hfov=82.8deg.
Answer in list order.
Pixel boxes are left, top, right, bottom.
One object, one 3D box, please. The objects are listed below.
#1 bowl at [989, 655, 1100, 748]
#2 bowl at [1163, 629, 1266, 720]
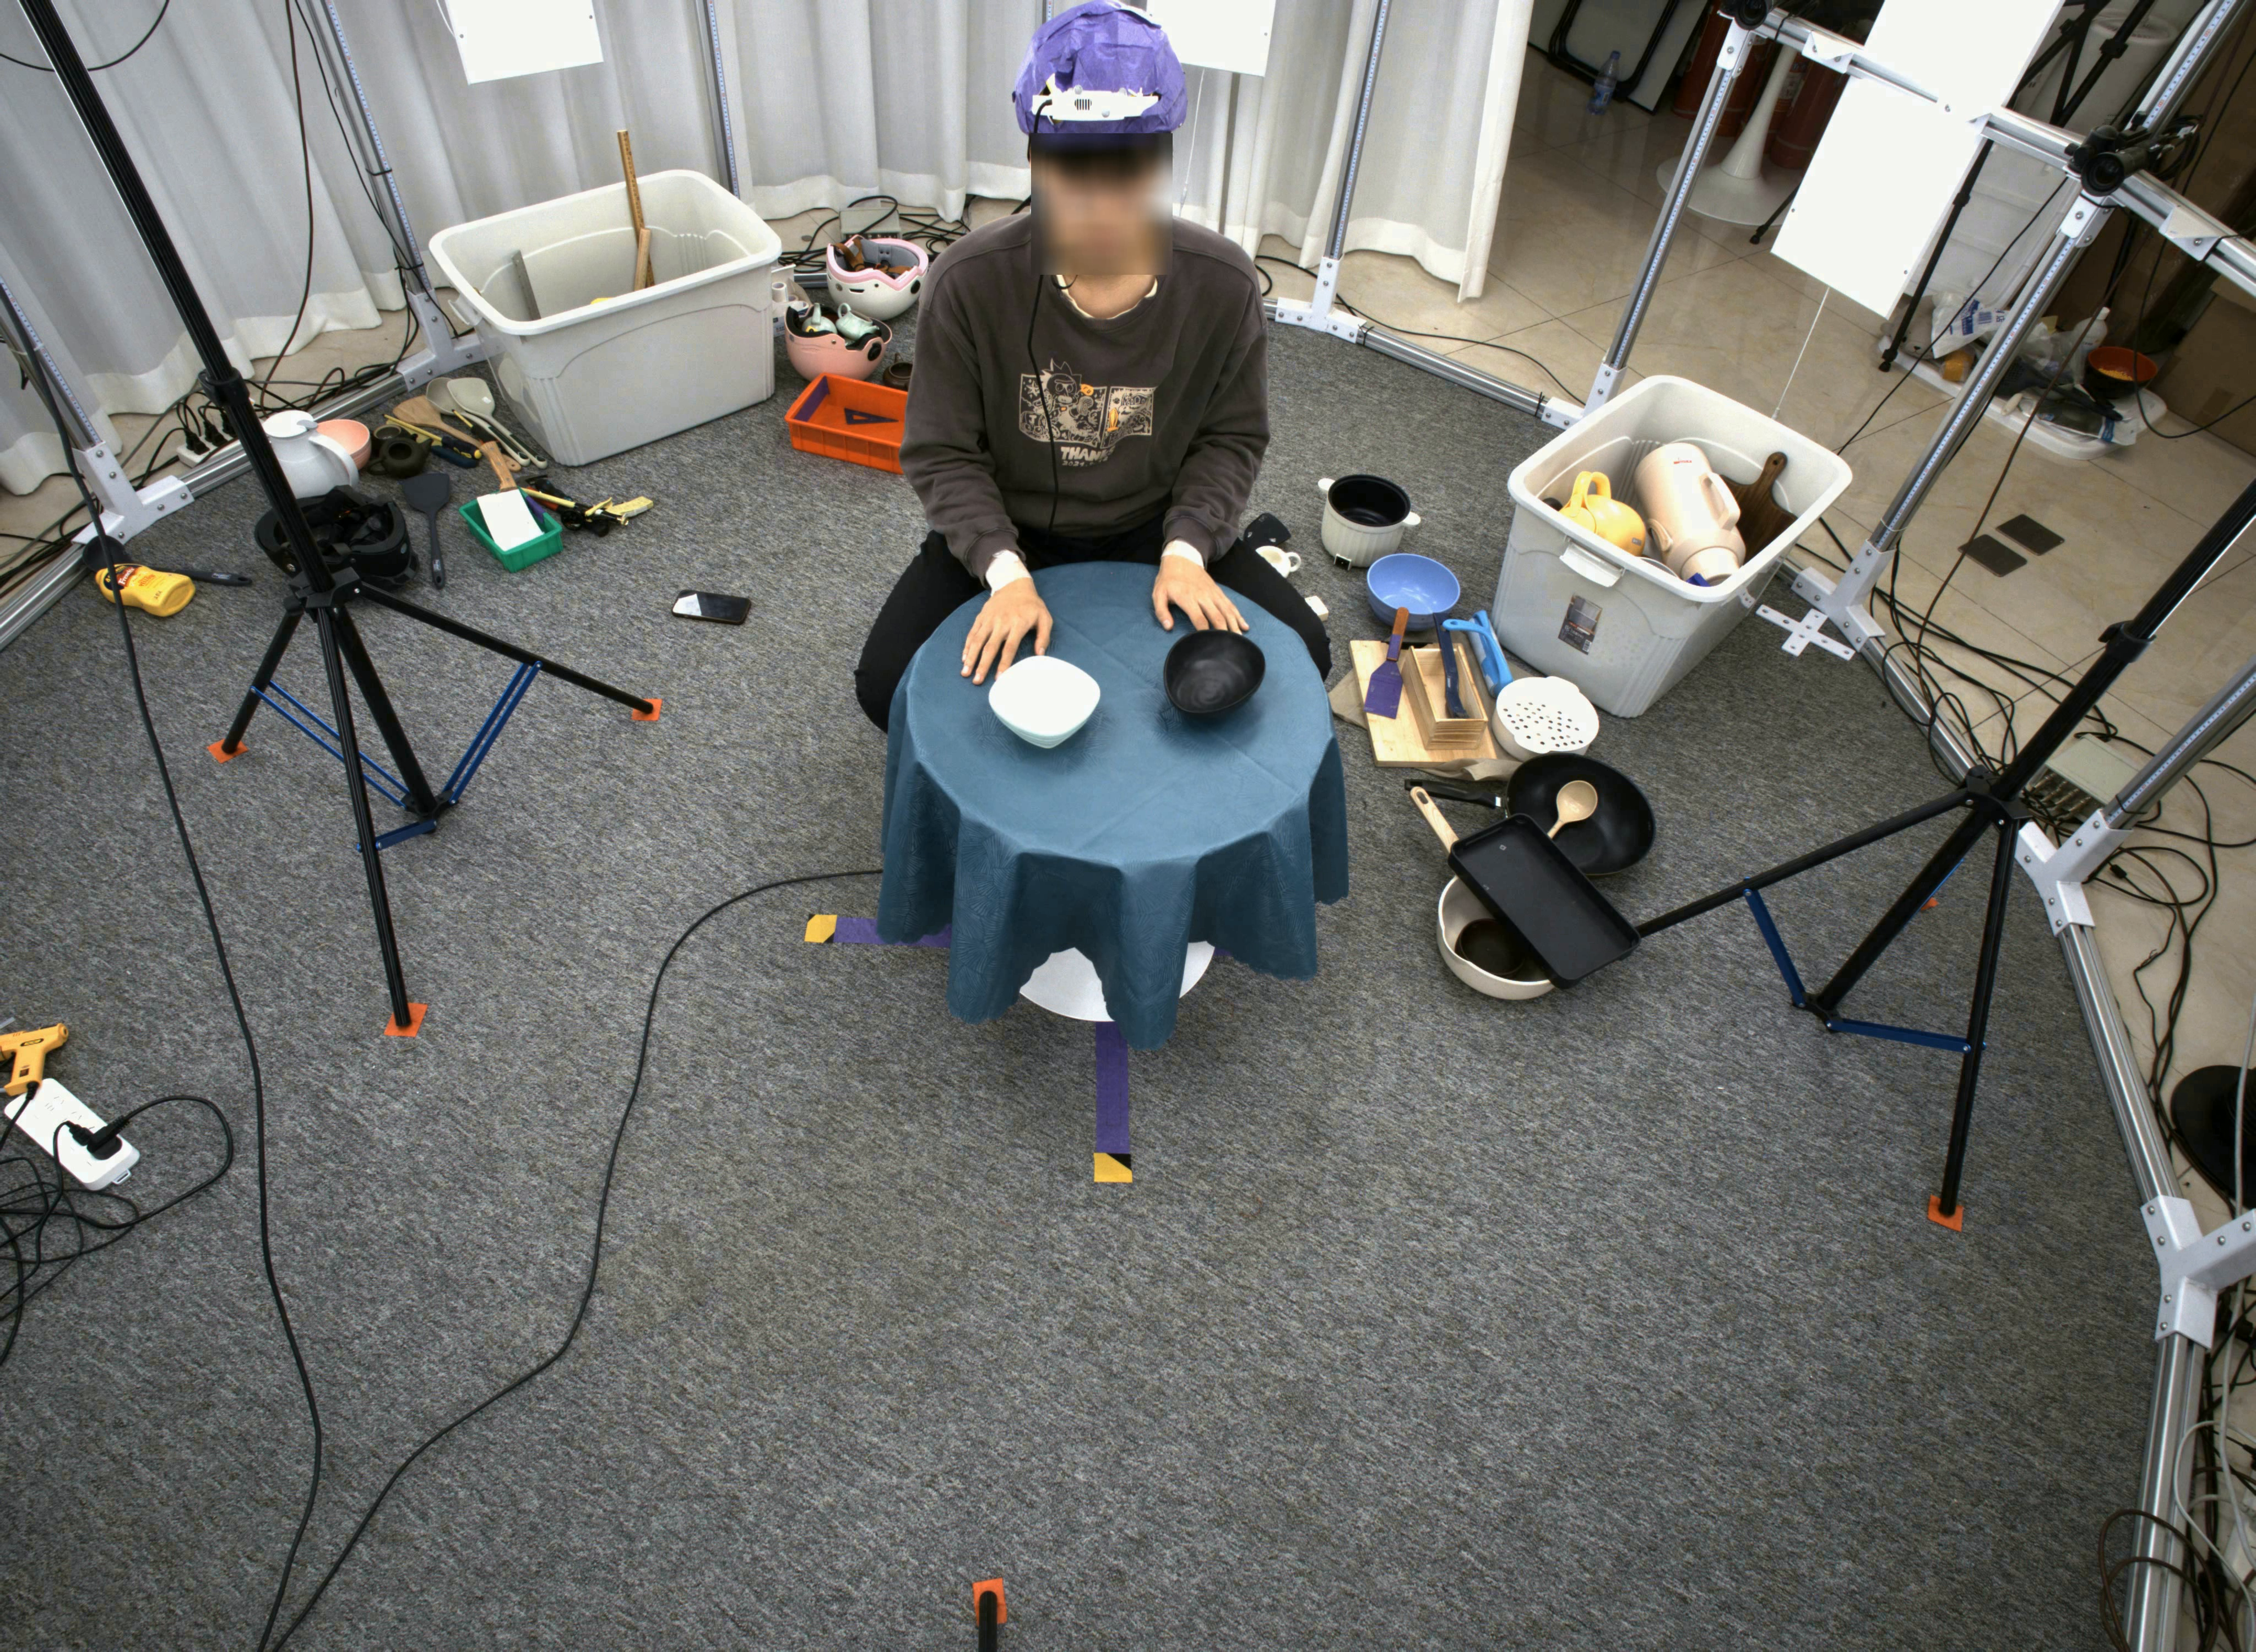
[{"bbox_3d":[-0.115,-0.162,1.762,0.151,0.057,0.155,3,50,-3],"label":"bowl"},{"bbox_3d":[0.119,-0.202,1.808,0.138,0.065,0.173,24,53,17],"label":"bowl"}]
